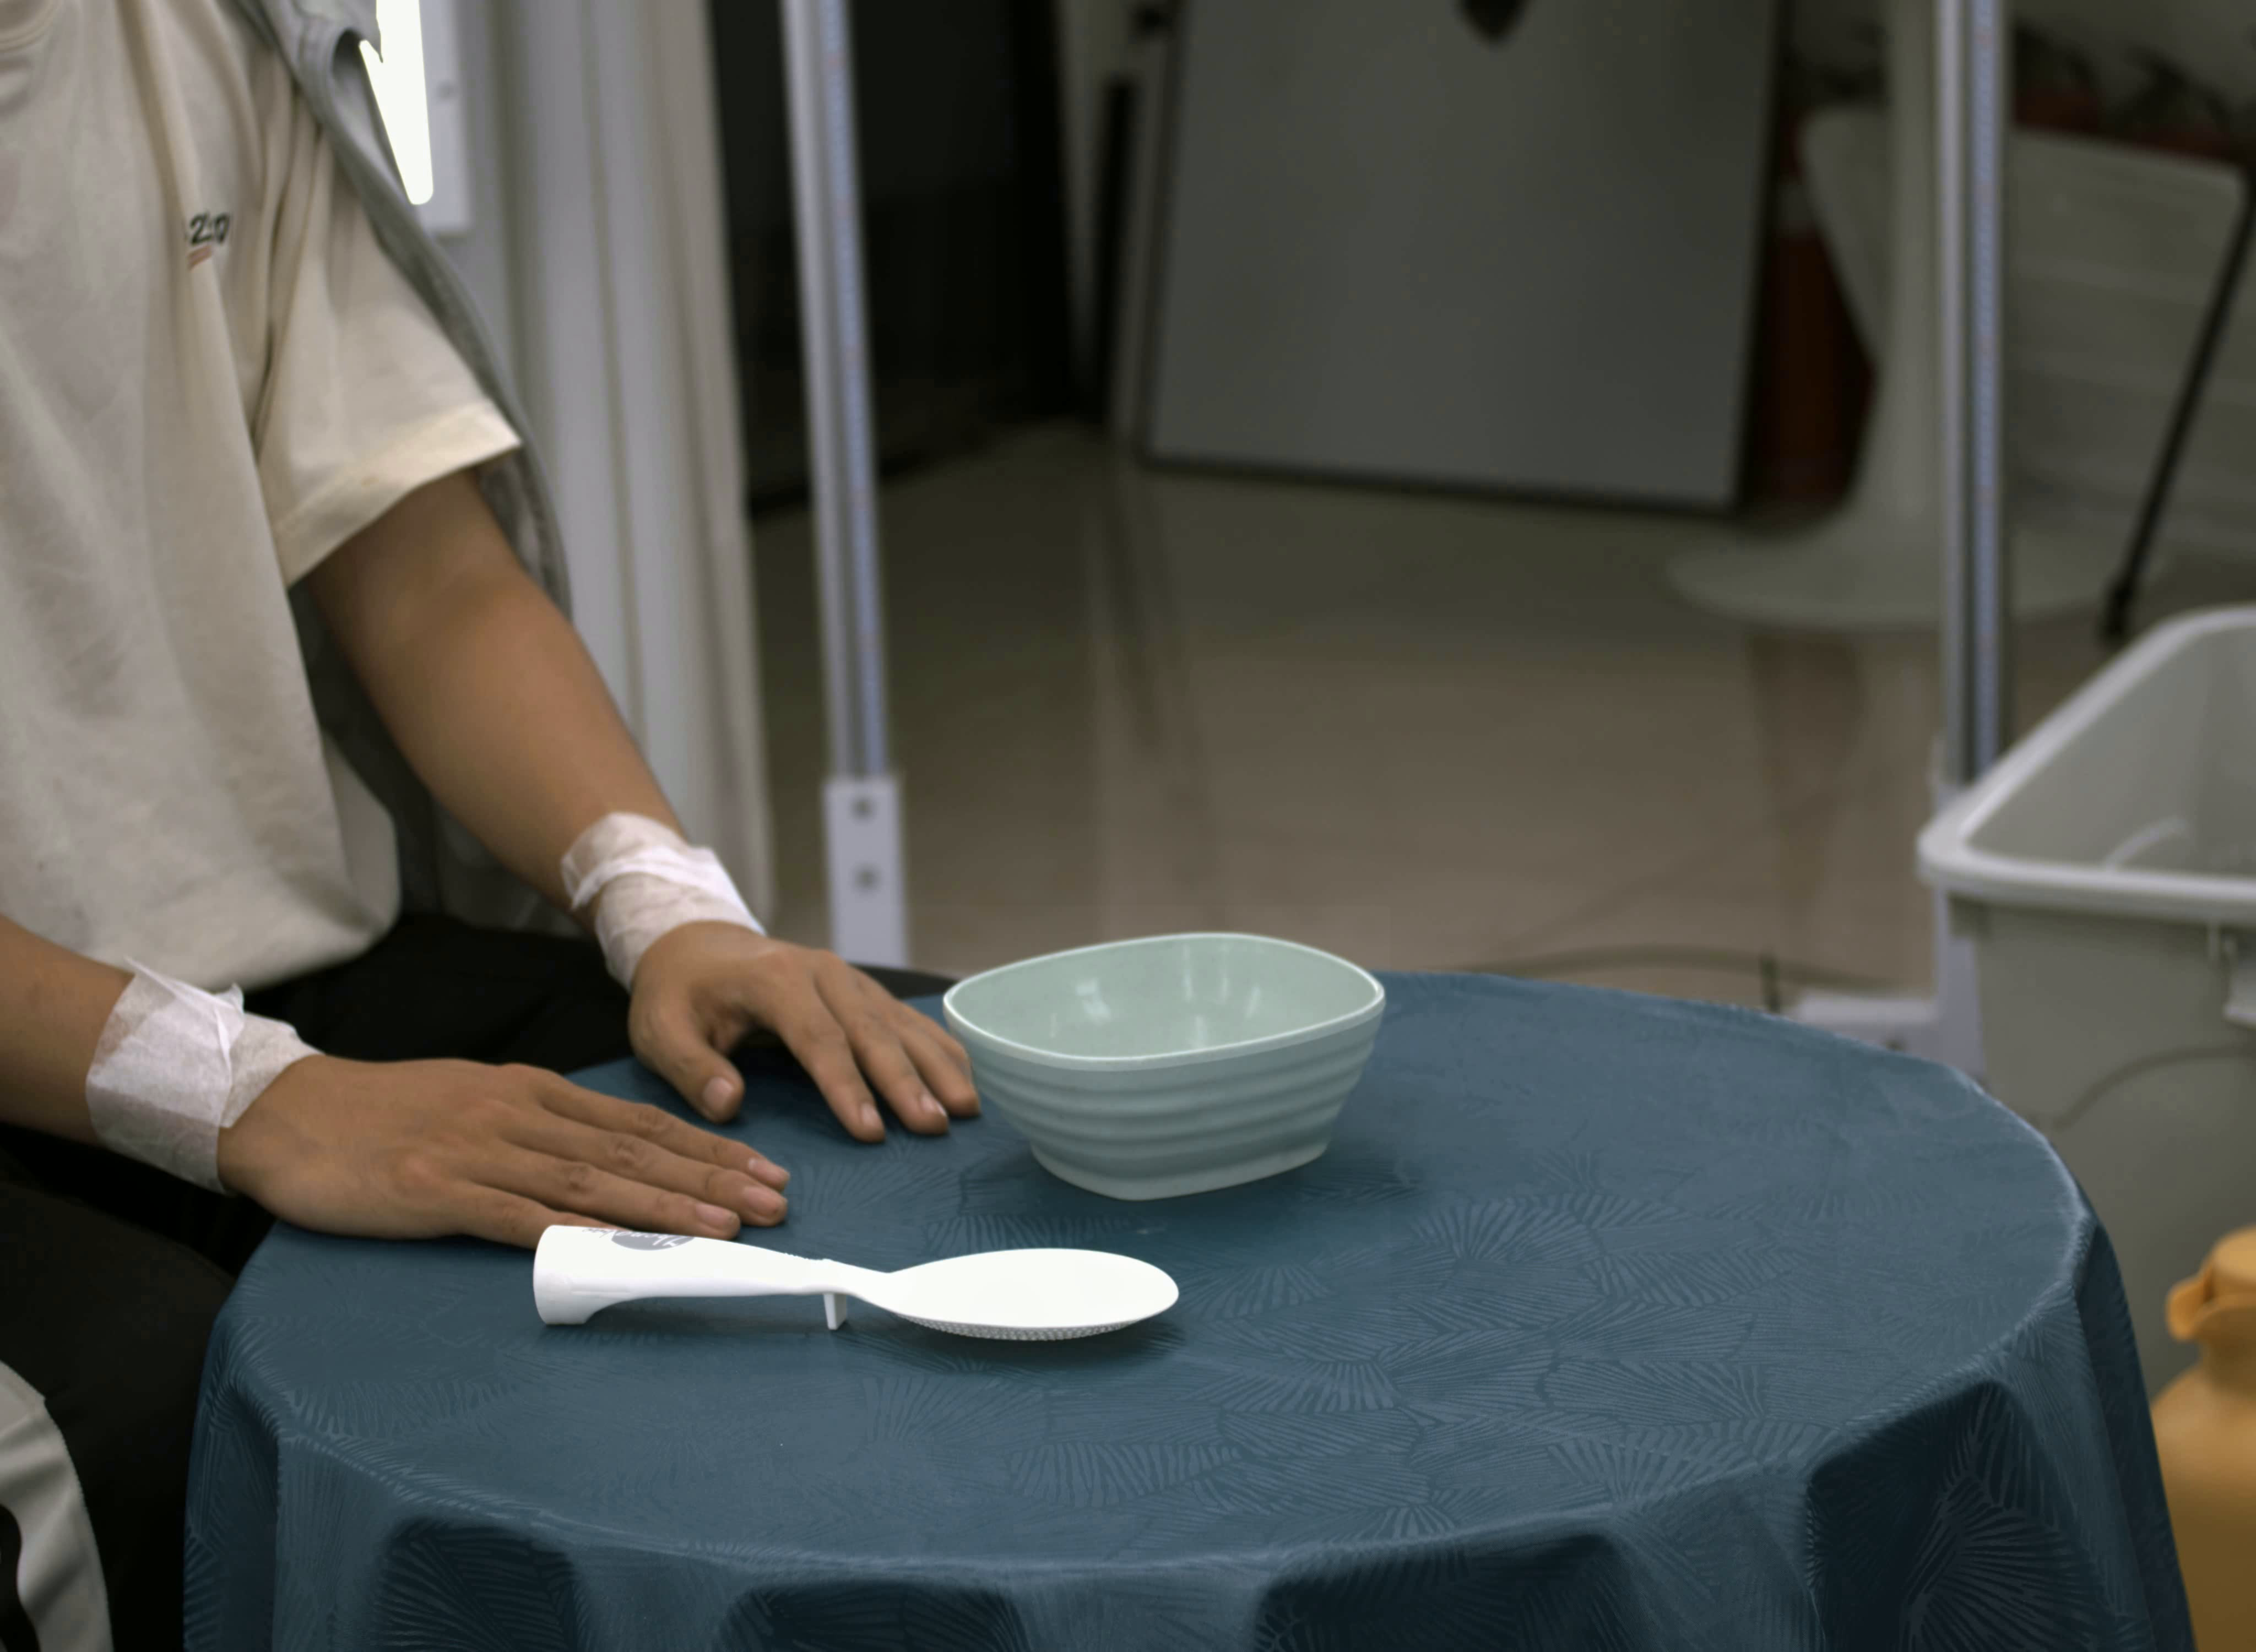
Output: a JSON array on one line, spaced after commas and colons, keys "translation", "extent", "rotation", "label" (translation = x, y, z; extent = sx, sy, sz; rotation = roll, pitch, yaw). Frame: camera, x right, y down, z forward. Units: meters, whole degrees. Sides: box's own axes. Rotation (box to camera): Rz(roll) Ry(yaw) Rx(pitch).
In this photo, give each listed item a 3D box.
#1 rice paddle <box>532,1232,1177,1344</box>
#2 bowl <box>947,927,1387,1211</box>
[{"translation": [-0.083, 0.141, 1.657], "extent": [0.204, 0.030, 0.068], "rotation": [0, 16, 16], "label": "rice paddle"}, {"translation": [0.014, 0.084, 1.802], "extent": [0.149, 0.059, 0.152], "rotation": [-4, 16, 0], "label": "bowl"}]
